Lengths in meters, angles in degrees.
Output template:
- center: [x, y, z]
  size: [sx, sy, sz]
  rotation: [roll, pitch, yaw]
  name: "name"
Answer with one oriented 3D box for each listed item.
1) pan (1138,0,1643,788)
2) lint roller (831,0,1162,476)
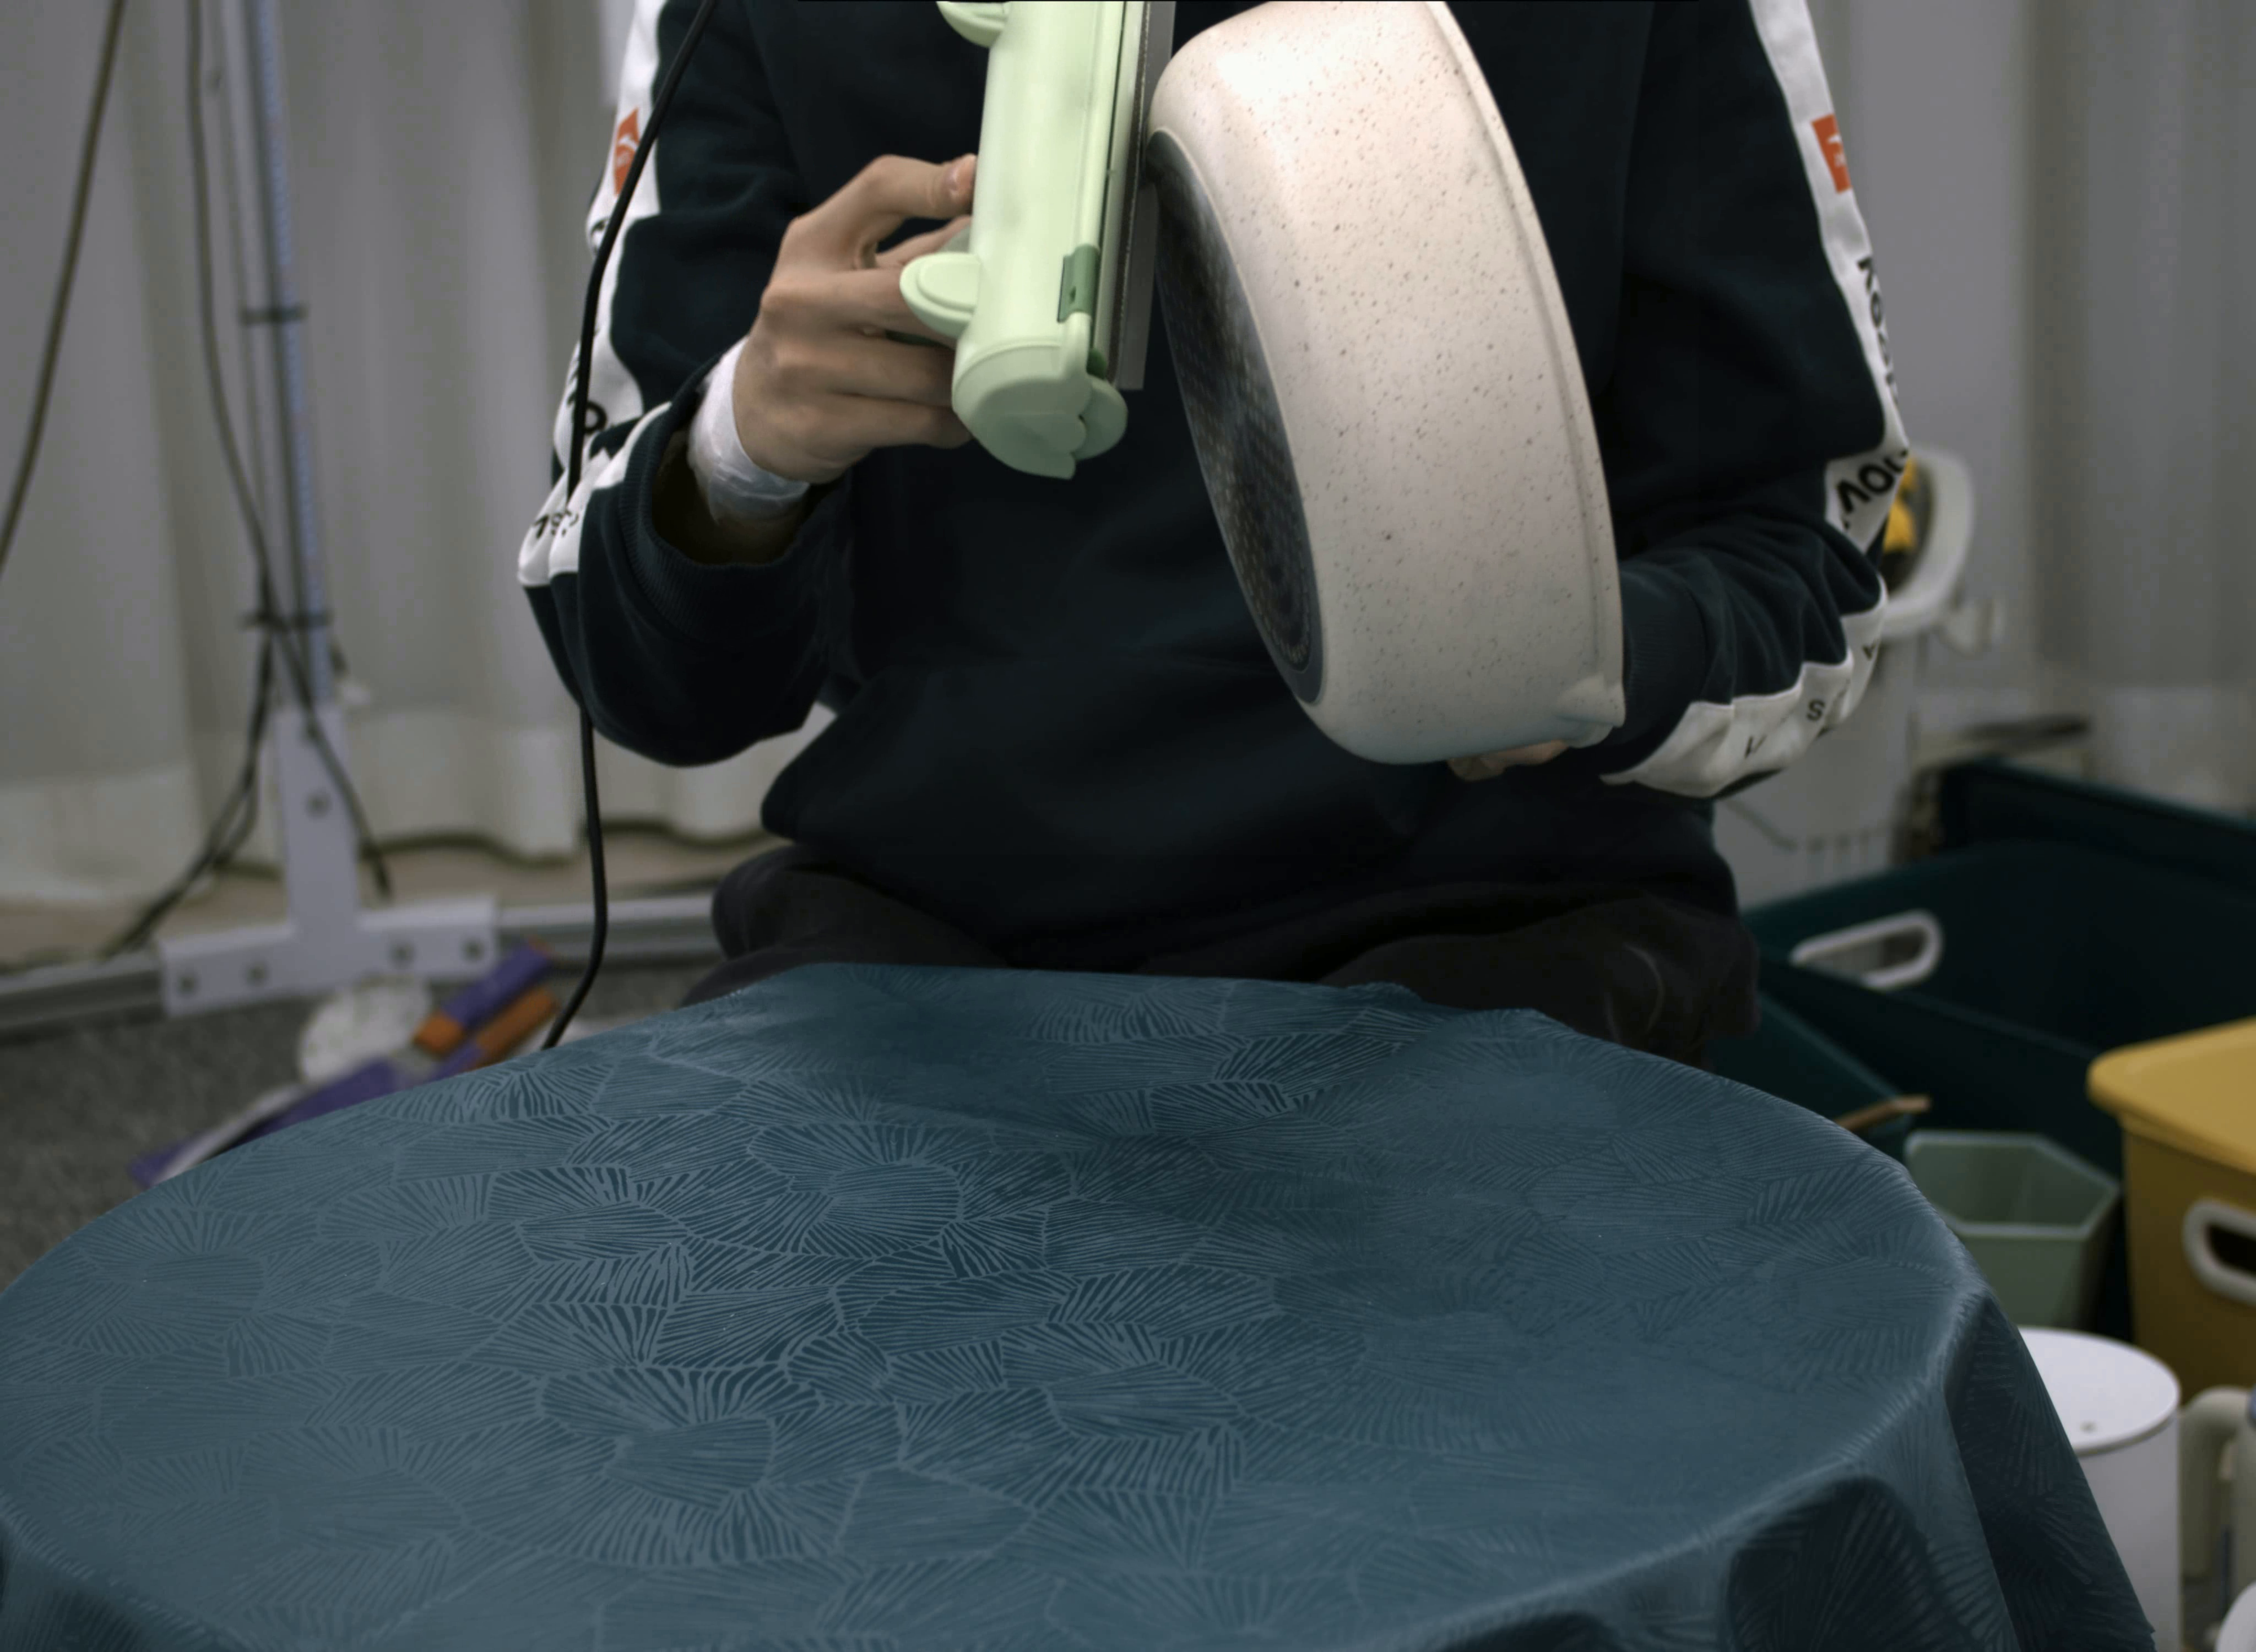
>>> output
- center: [0.079, -0.095, 1.755]
  size: [0.102, 0.266, 0.430]
  rotation: [-18, -22, -7]
  name: "pan"
- center: [-0.061, -0.183, 1.730]
  size: [0.081, 0.201, 0.182]
  rotation: [26, -39, -29]
  name: "lint roller"
